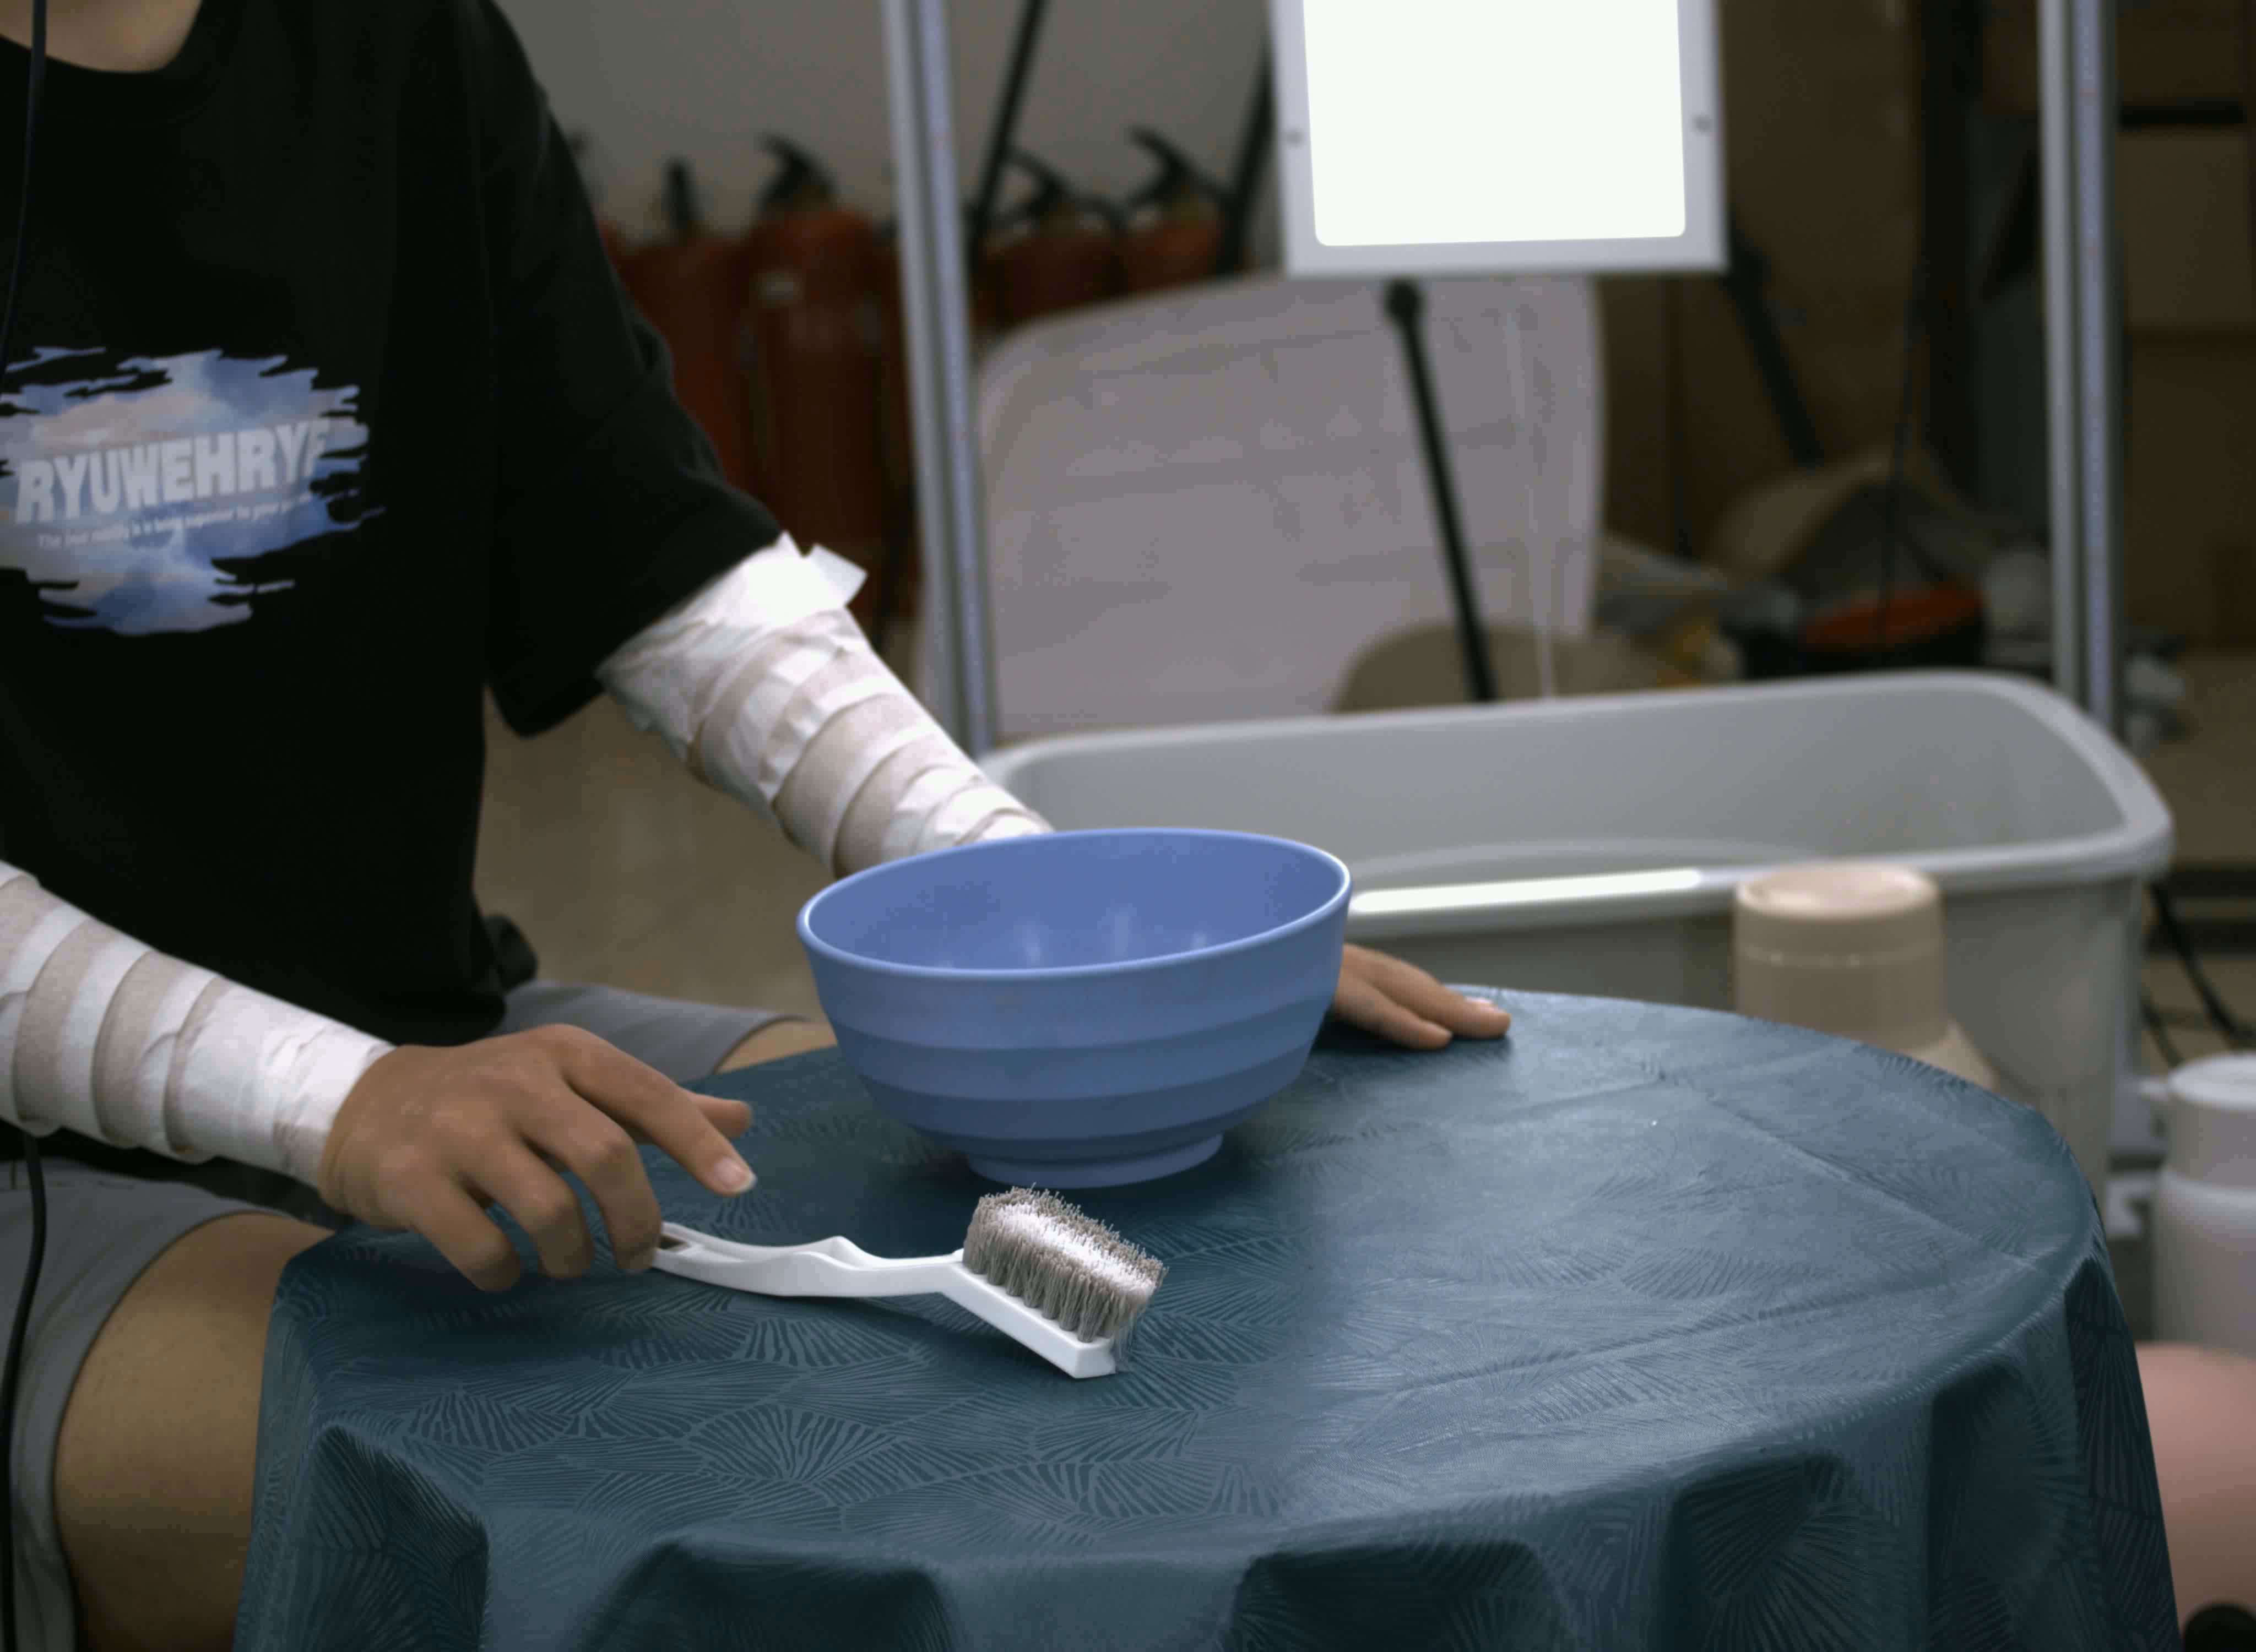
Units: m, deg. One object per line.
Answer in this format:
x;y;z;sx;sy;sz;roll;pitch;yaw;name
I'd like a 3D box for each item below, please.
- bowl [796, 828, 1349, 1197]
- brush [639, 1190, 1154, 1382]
-0.014;0.072;1.940;0.196;0.096;0.196;-7;14;0;bowl
-0.082;0.133;1.795;0.033;0.050;0.249;-20;20;-38;brush
